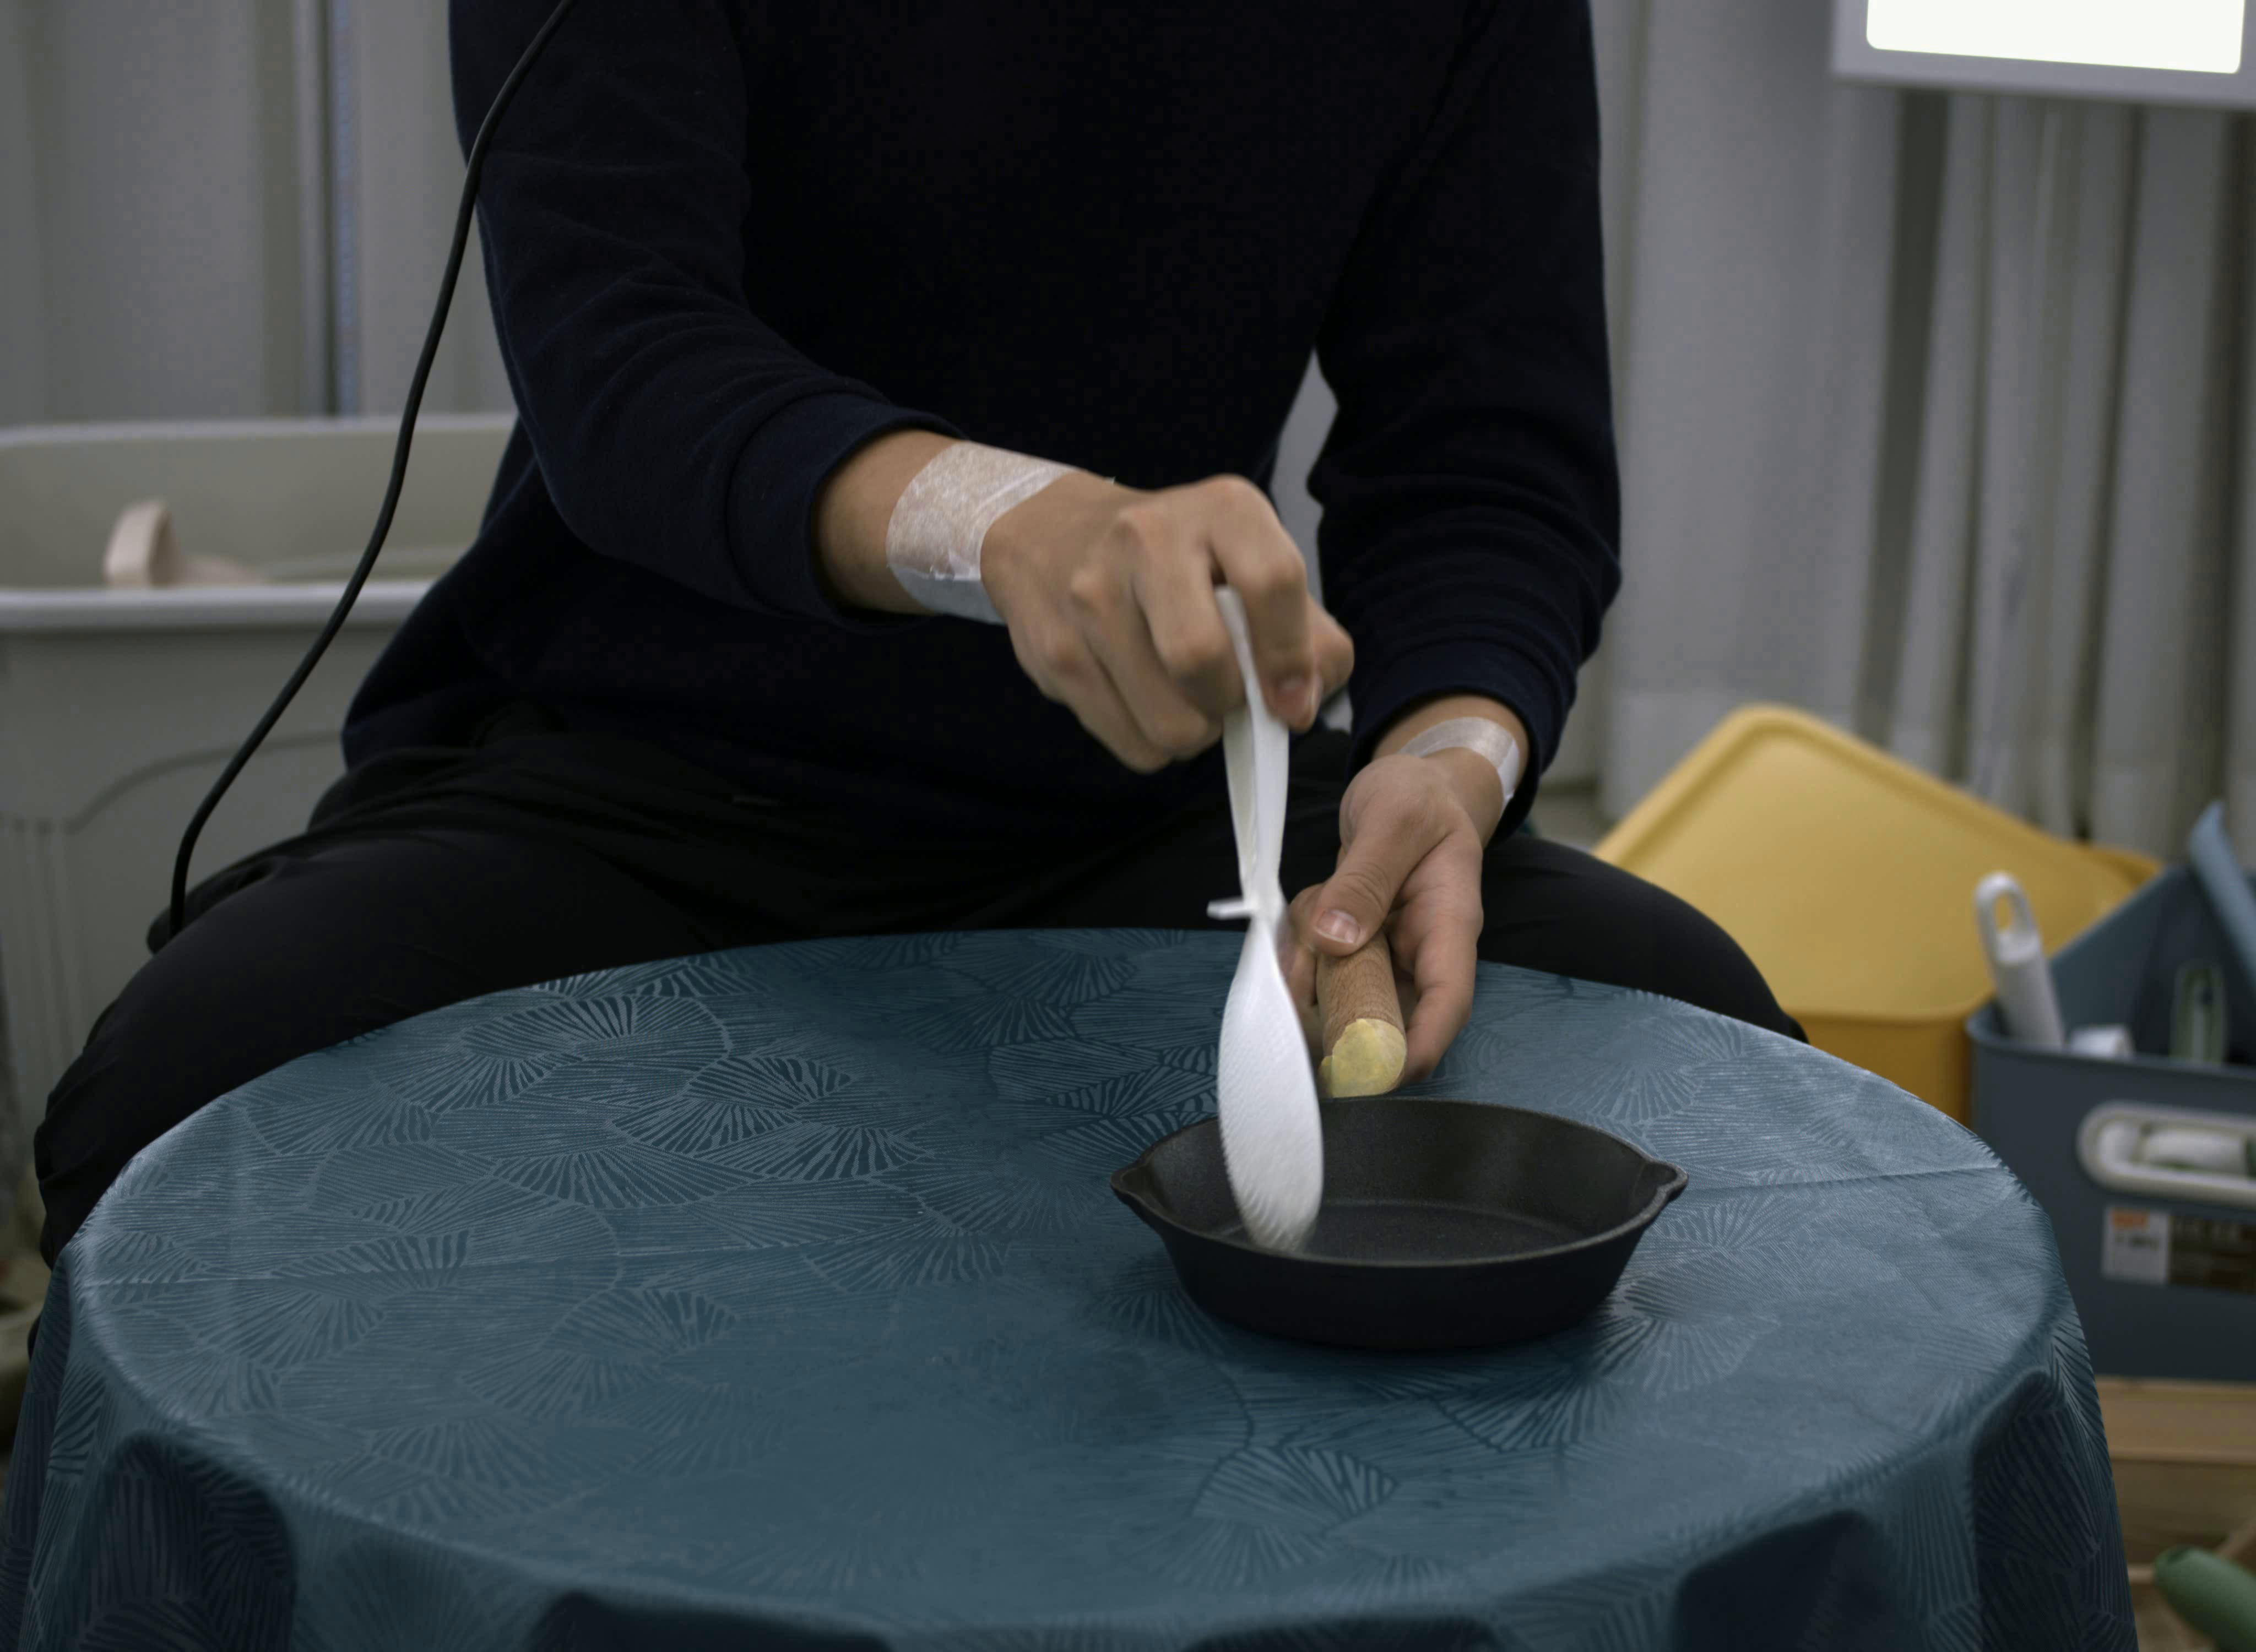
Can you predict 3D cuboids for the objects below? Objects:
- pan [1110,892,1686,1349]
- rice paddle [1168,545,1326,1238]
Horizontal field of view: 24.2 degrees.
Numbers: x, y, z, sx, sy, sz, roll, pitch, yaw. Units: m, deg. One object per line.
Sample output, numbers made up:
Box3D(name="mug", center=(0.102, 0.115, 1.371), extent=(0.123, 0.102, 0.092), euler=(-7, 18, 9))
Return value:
Box3D(name="pan", center=(0.079, 0.087, 1.621), extent=(0.168, 0.050, 0.322), euler=(0, 16, 0))
Box3D(name="rice paddle", center=(0.038, 0.022, 1.524), extent=(0.029, 0.206, 0.068), euler=(-9, 8, -17))
